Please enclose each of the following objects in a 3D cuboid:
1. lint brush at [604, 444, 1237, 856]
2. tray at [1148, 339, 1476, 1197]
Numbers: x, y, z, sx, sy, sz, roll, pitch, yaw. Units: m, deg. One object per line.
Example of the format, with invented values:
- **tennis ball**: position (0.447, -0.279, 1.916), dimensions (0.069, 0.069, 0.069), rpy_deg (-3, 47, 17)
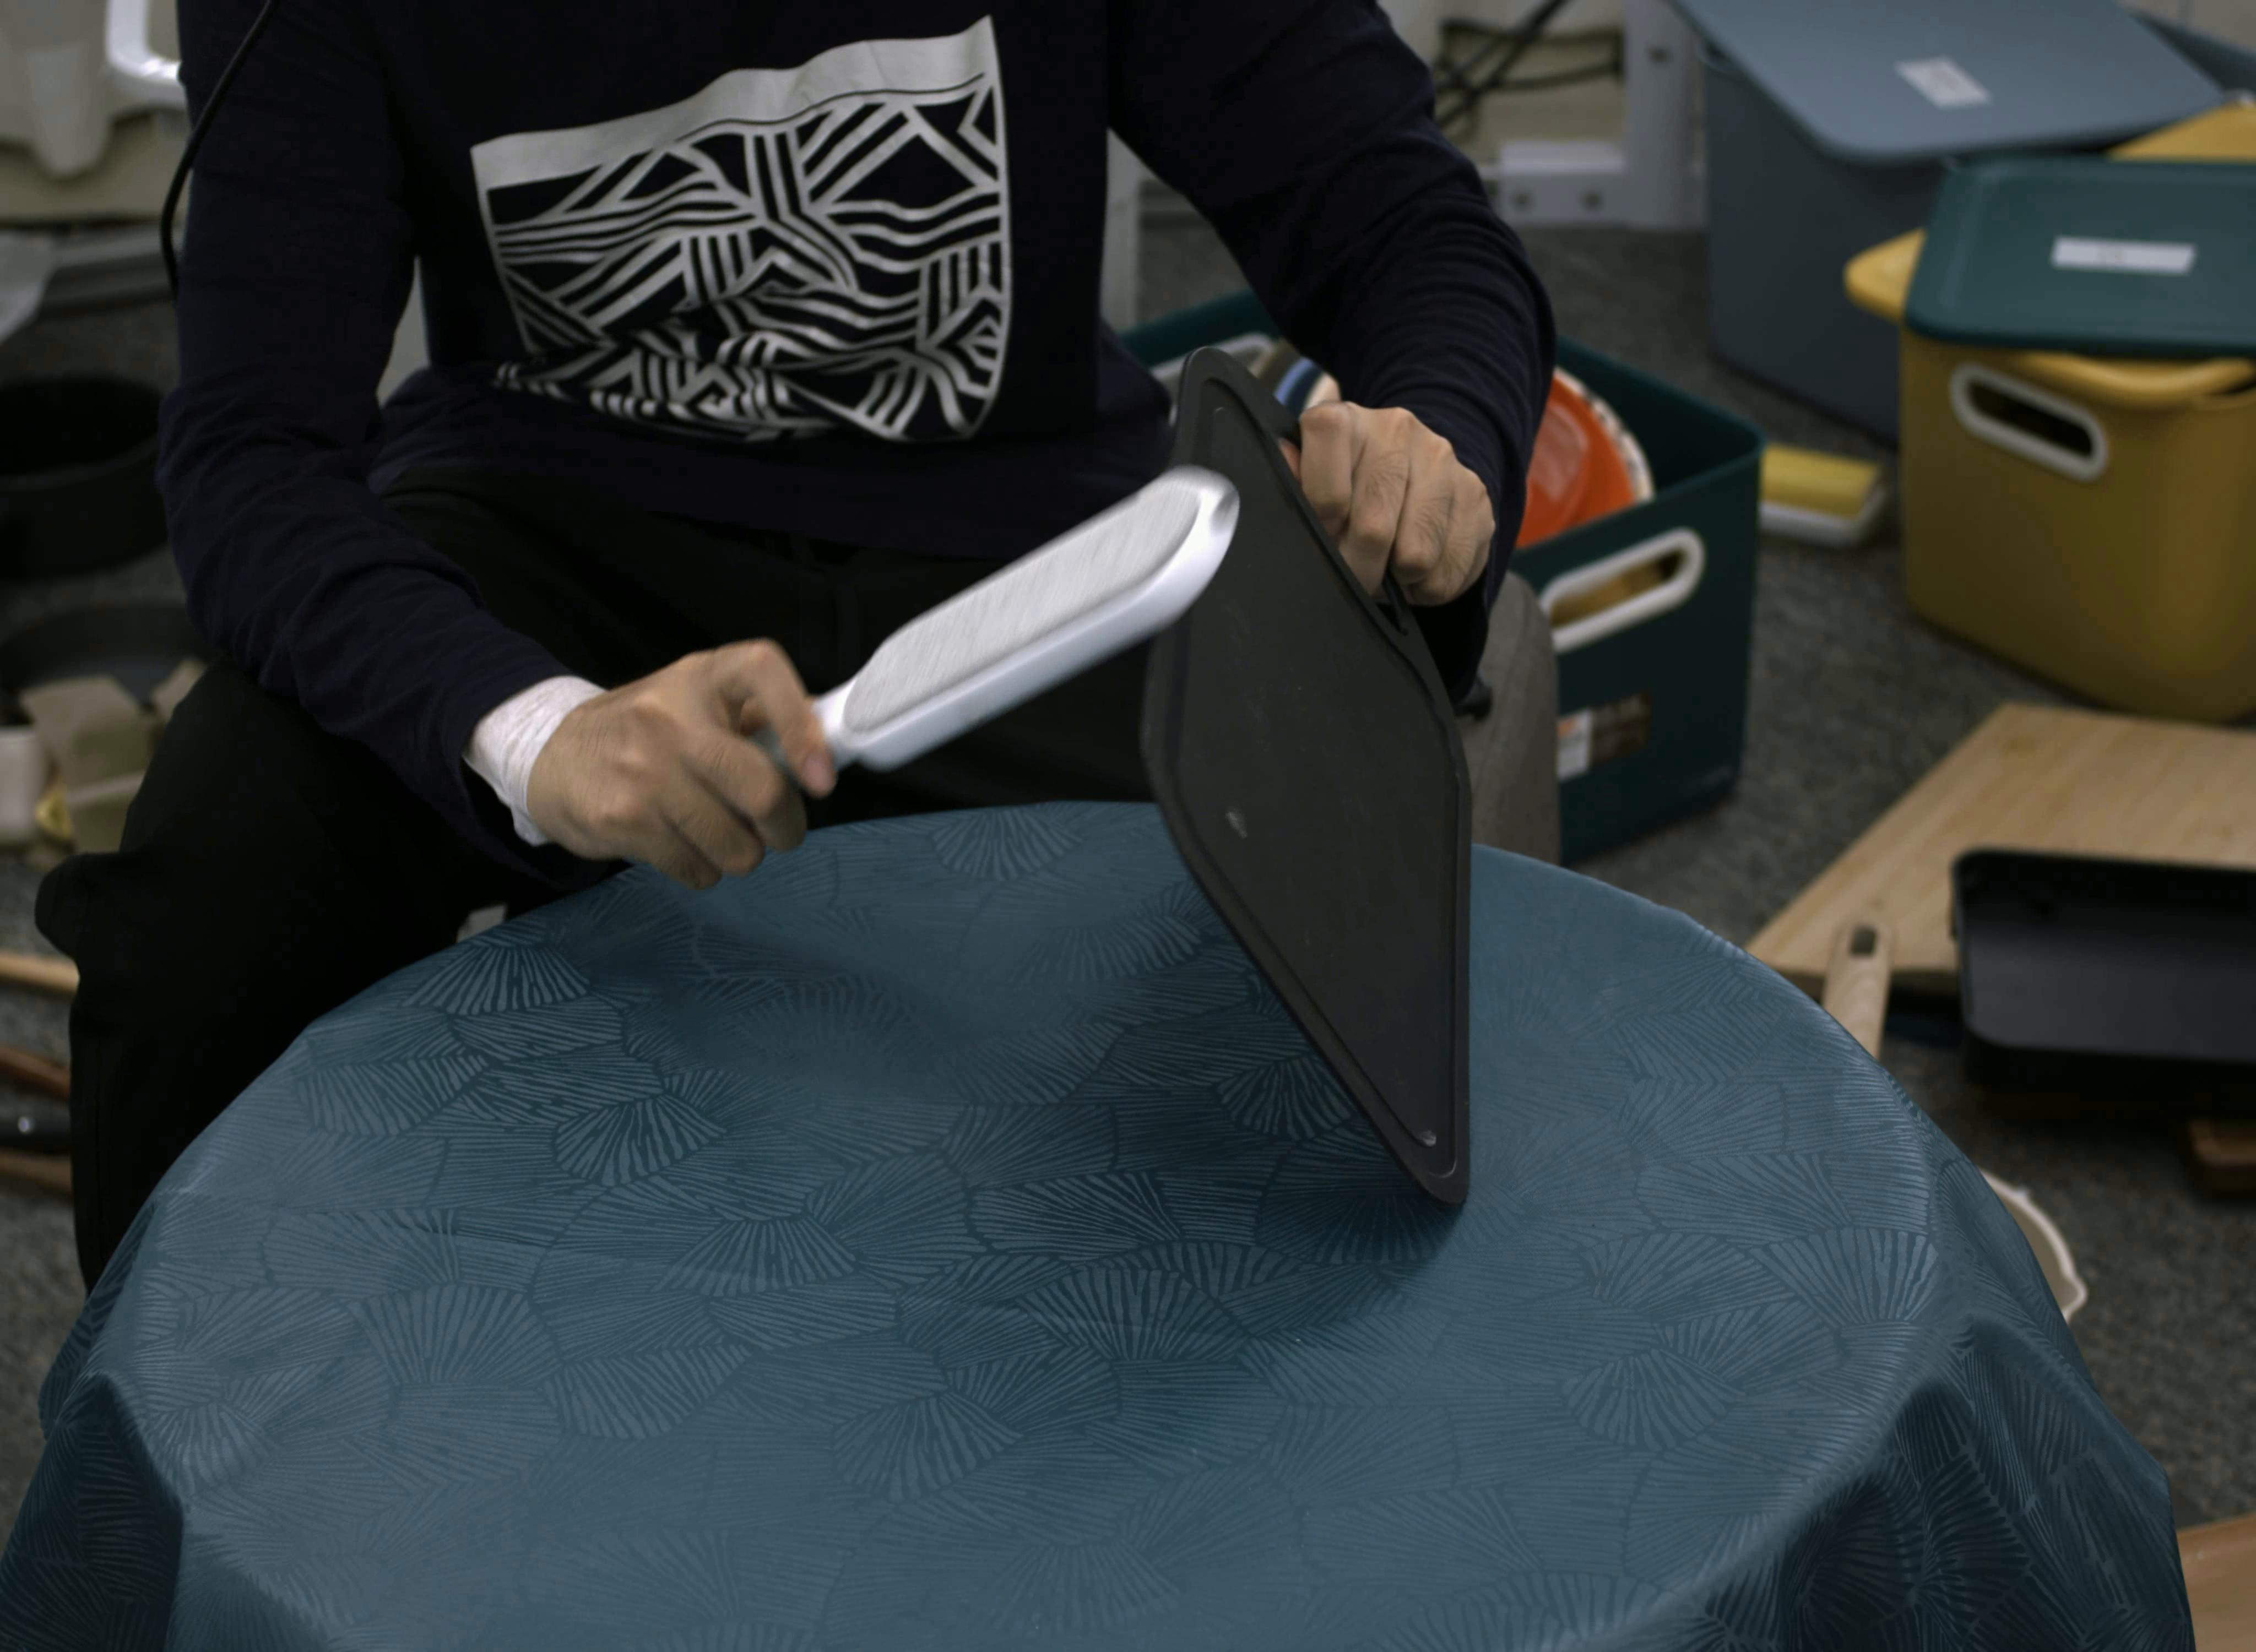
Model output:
- **lint brush**: position (-0.075, -0.054, 1.904), dimensions (0.304, 0.021, 0.061), rpy_deg (-27, 37, 37)
- **tray**: position (0.067, -0.031, 1.913), dimensions (0.009, 0.209, 0.331), rpy_deg (-24, 28, 19)
